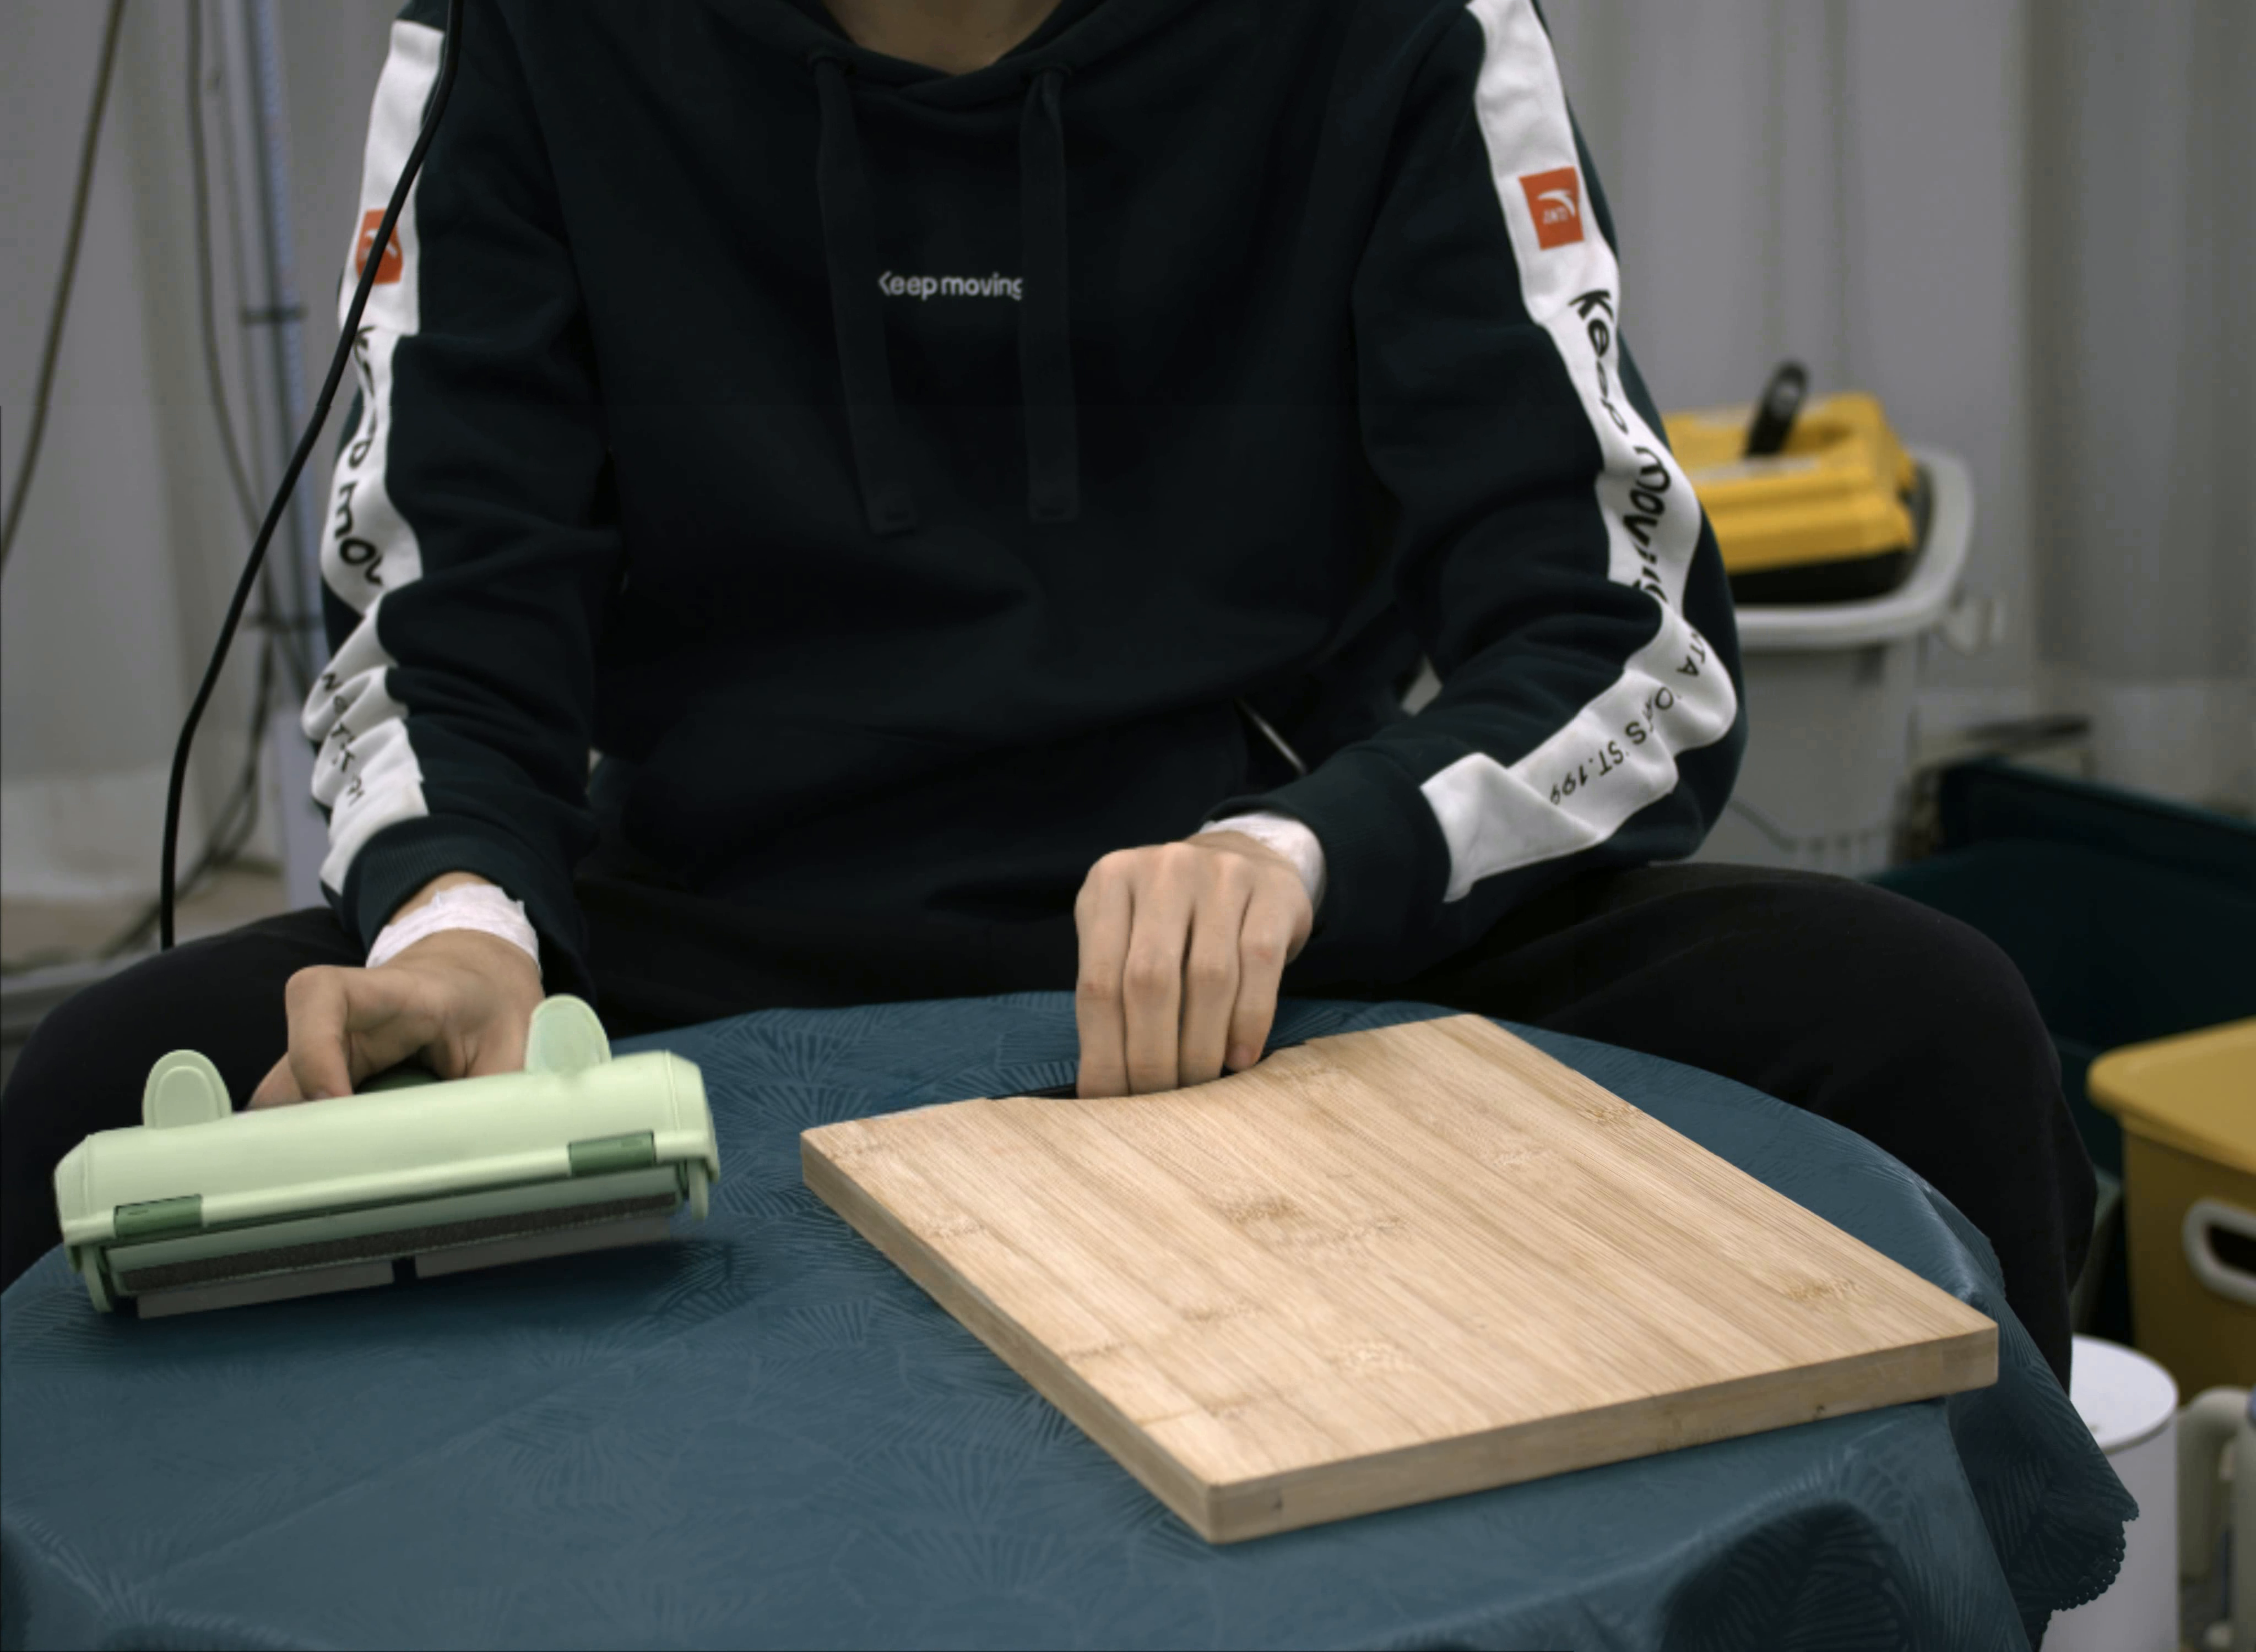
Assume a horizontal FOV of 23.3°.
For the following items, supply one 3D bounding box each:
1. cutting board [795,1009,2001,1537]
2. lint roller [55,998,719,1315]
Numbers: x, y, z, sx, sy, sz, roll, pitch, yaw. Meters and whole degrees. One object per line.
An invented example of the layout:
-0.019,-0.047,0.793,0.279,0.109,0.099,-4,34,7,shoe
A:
0.068,0.126,1.629,0.249,0.023,0.351,-9,16,-21,cutting board
-0.231,0.086,1.710,0.198,0.082,0.185,-8,18,-5,lint roller
